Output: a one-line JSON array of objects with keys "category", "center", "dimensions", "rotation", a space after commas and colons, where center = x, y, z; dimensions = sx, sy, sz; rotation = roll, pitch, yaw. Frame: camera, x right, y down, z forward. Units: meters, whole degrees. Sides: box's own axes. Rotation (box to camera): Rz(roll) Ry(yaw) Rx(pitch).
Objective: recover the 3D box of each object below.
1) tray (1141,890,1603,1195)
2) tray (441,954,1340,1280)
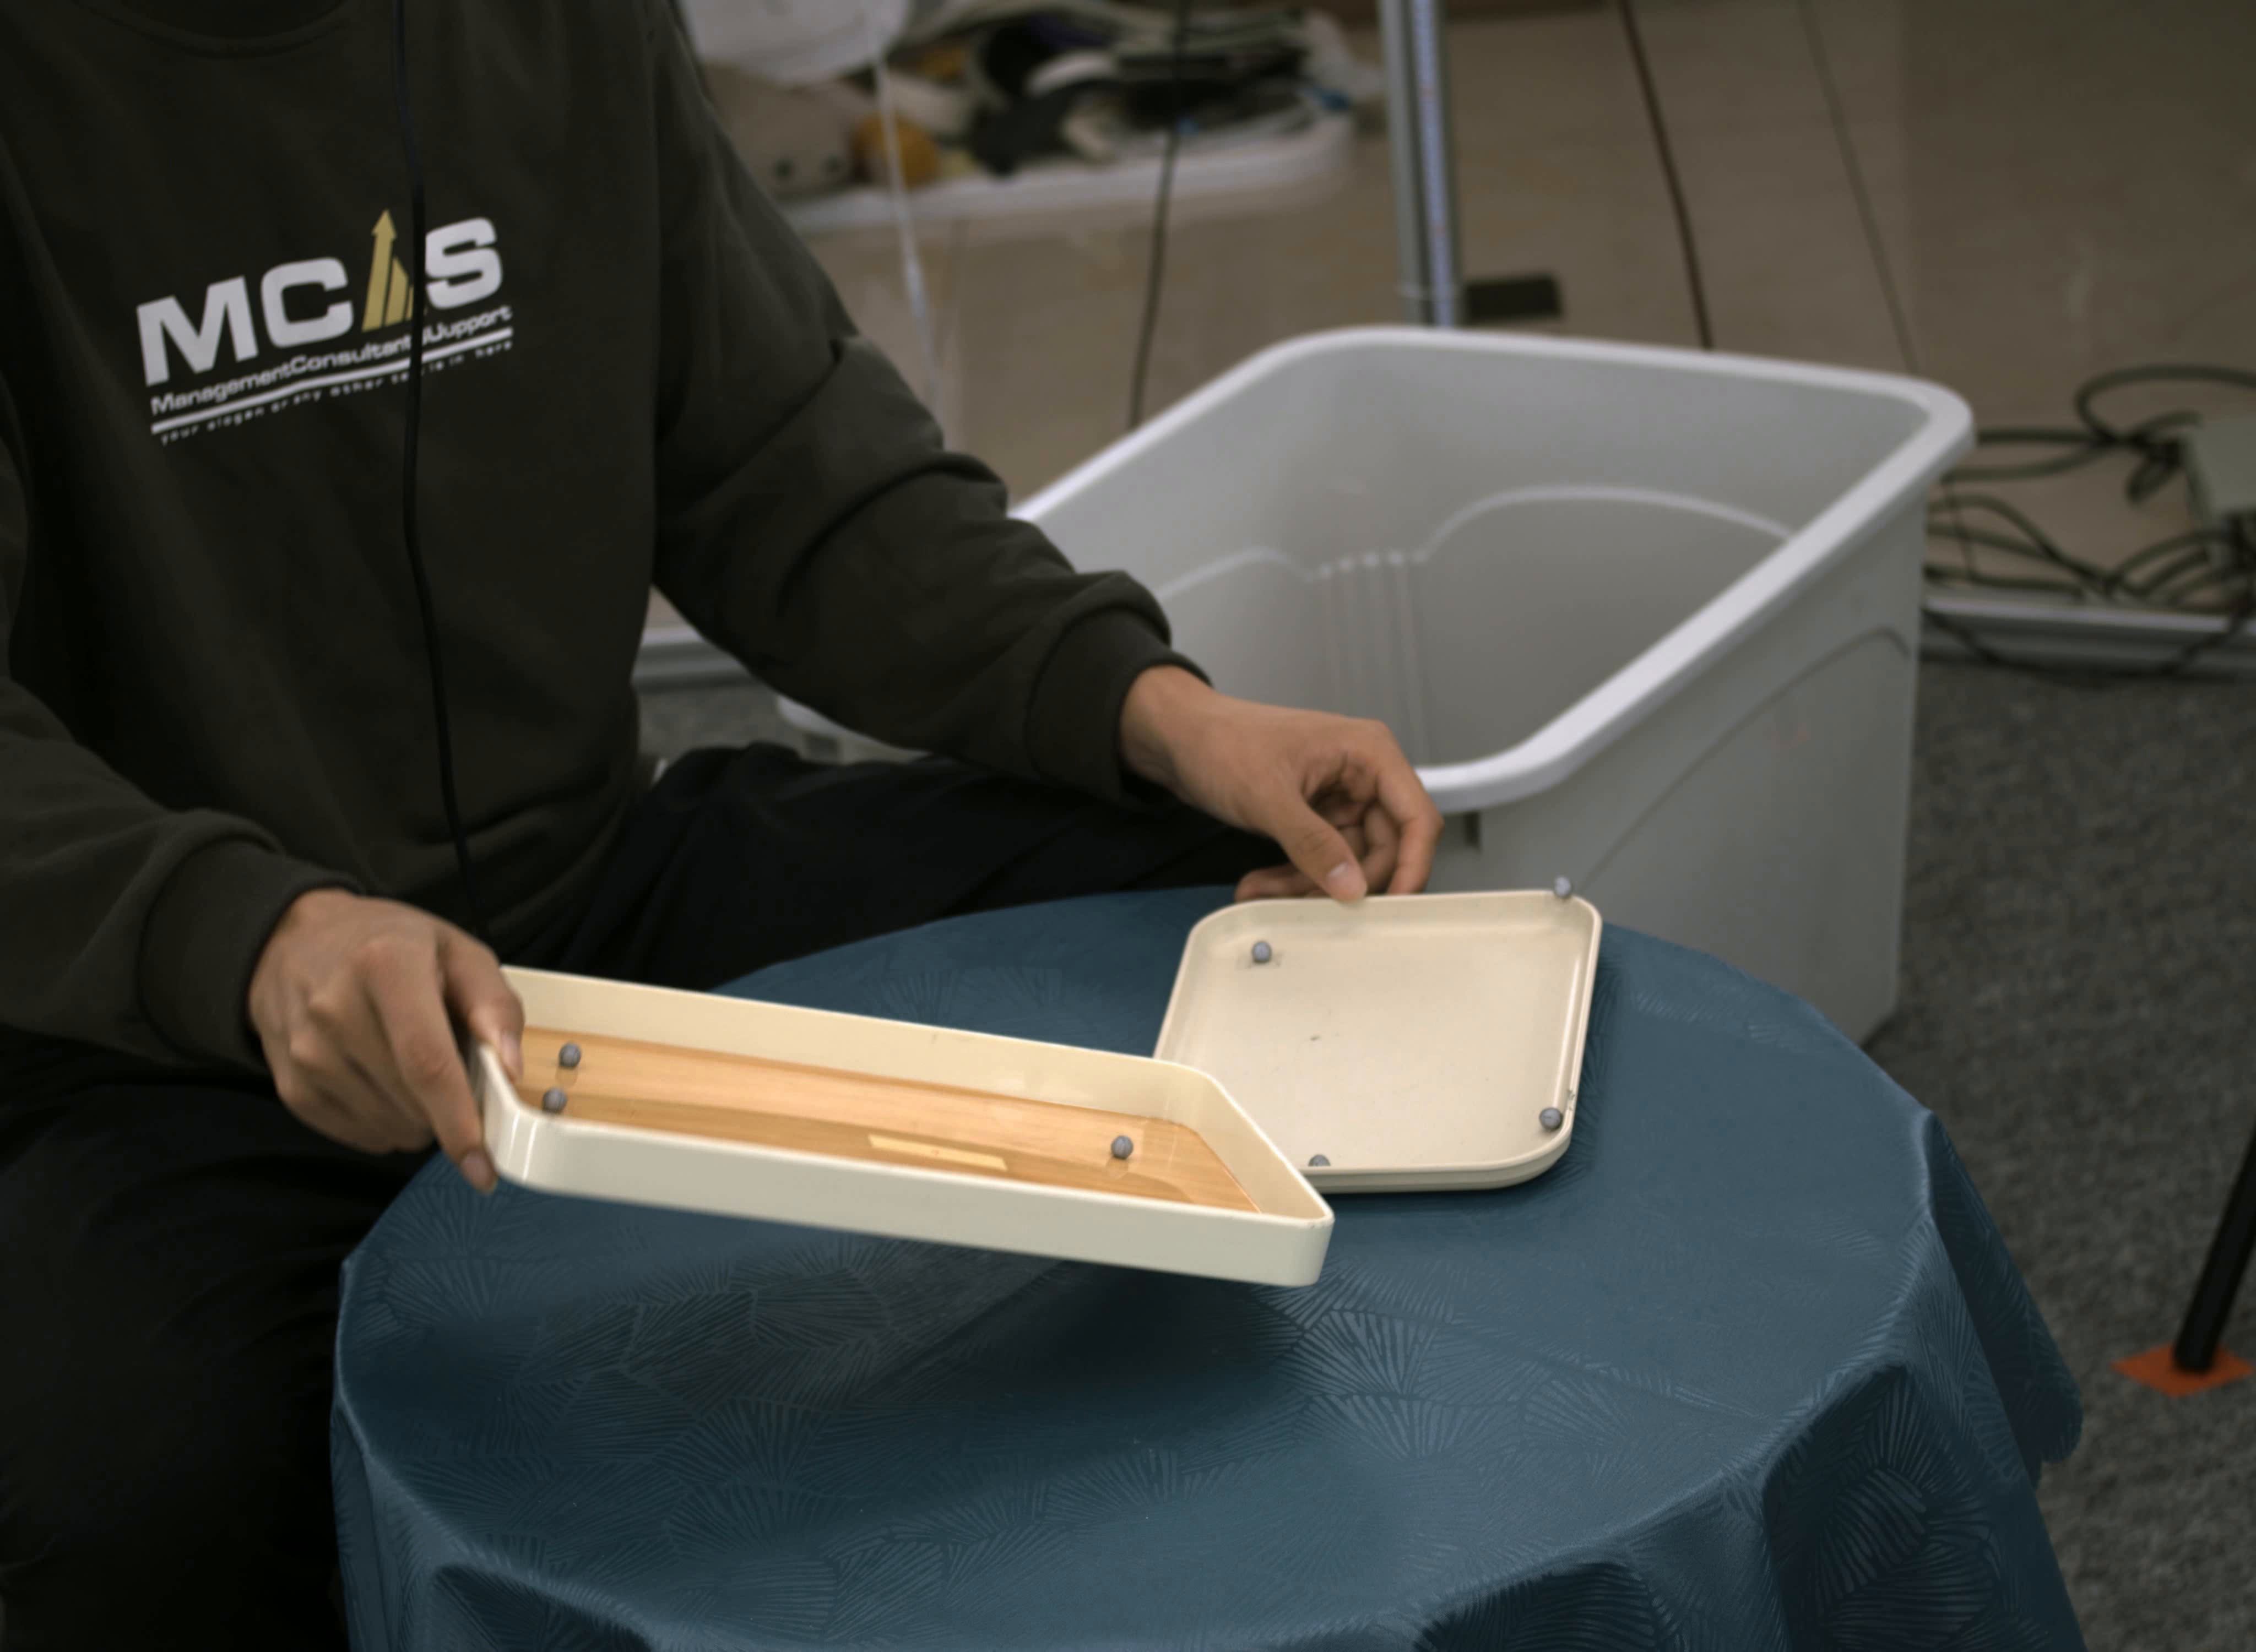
[{"category": "tray", "center": [0.097, 0.085, 2.220], "dimensions": [0.171, 0.018, 0.236], "rotation": [-3, 25, 10]}, {"category": "tray", "center": [-0.088, 0.104, 2.035], "dimensions": [0.300, 0.027, 0.189], "rotation": [10, 12, -18]}]
